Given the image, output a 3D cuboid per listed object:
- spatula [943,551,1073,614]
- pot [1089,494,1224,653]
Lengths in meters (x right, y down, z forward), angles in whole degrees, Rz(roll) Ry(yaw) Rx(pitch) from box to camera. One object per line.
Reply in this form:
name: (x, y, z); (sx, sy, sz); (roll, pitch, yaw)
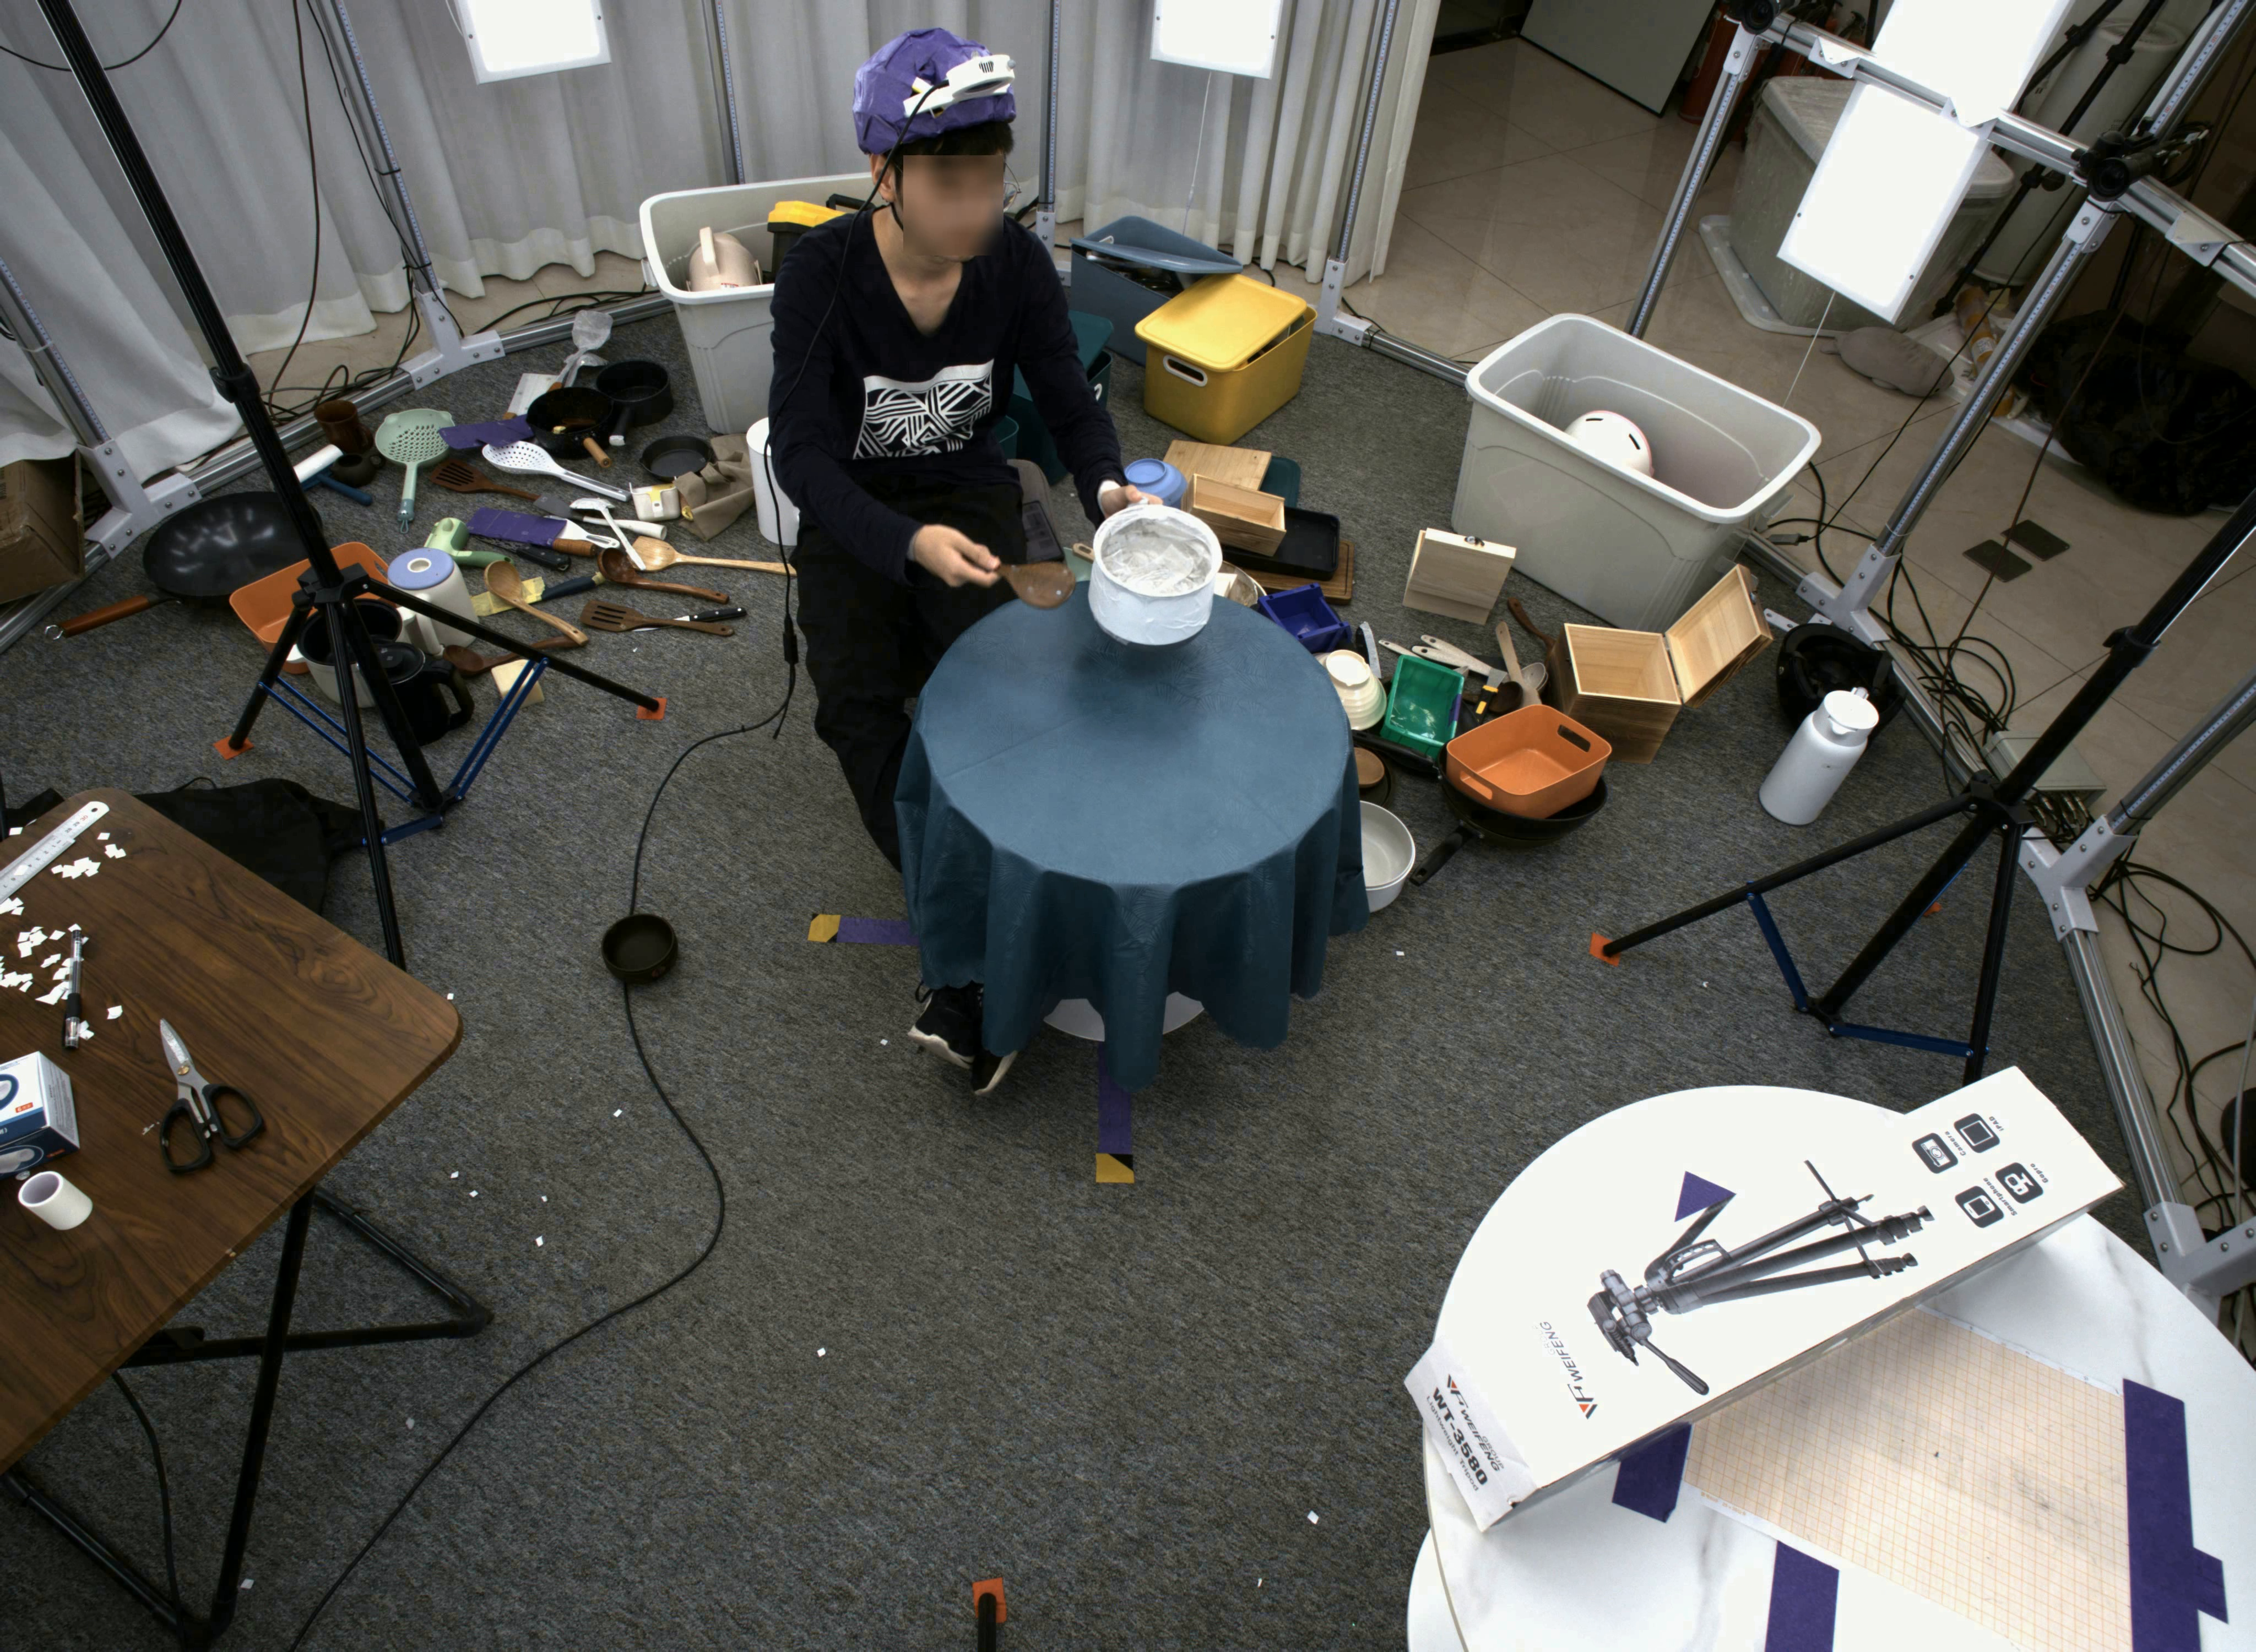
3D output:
spatula: (-0.165, -0.340, 1.750); (0.218, 0.009, 0.072); (24, 69, 27)
pot: (0.030, -0.366, 1.820); (0.178, 0.133, 0.239); (-7, 57, -13)
